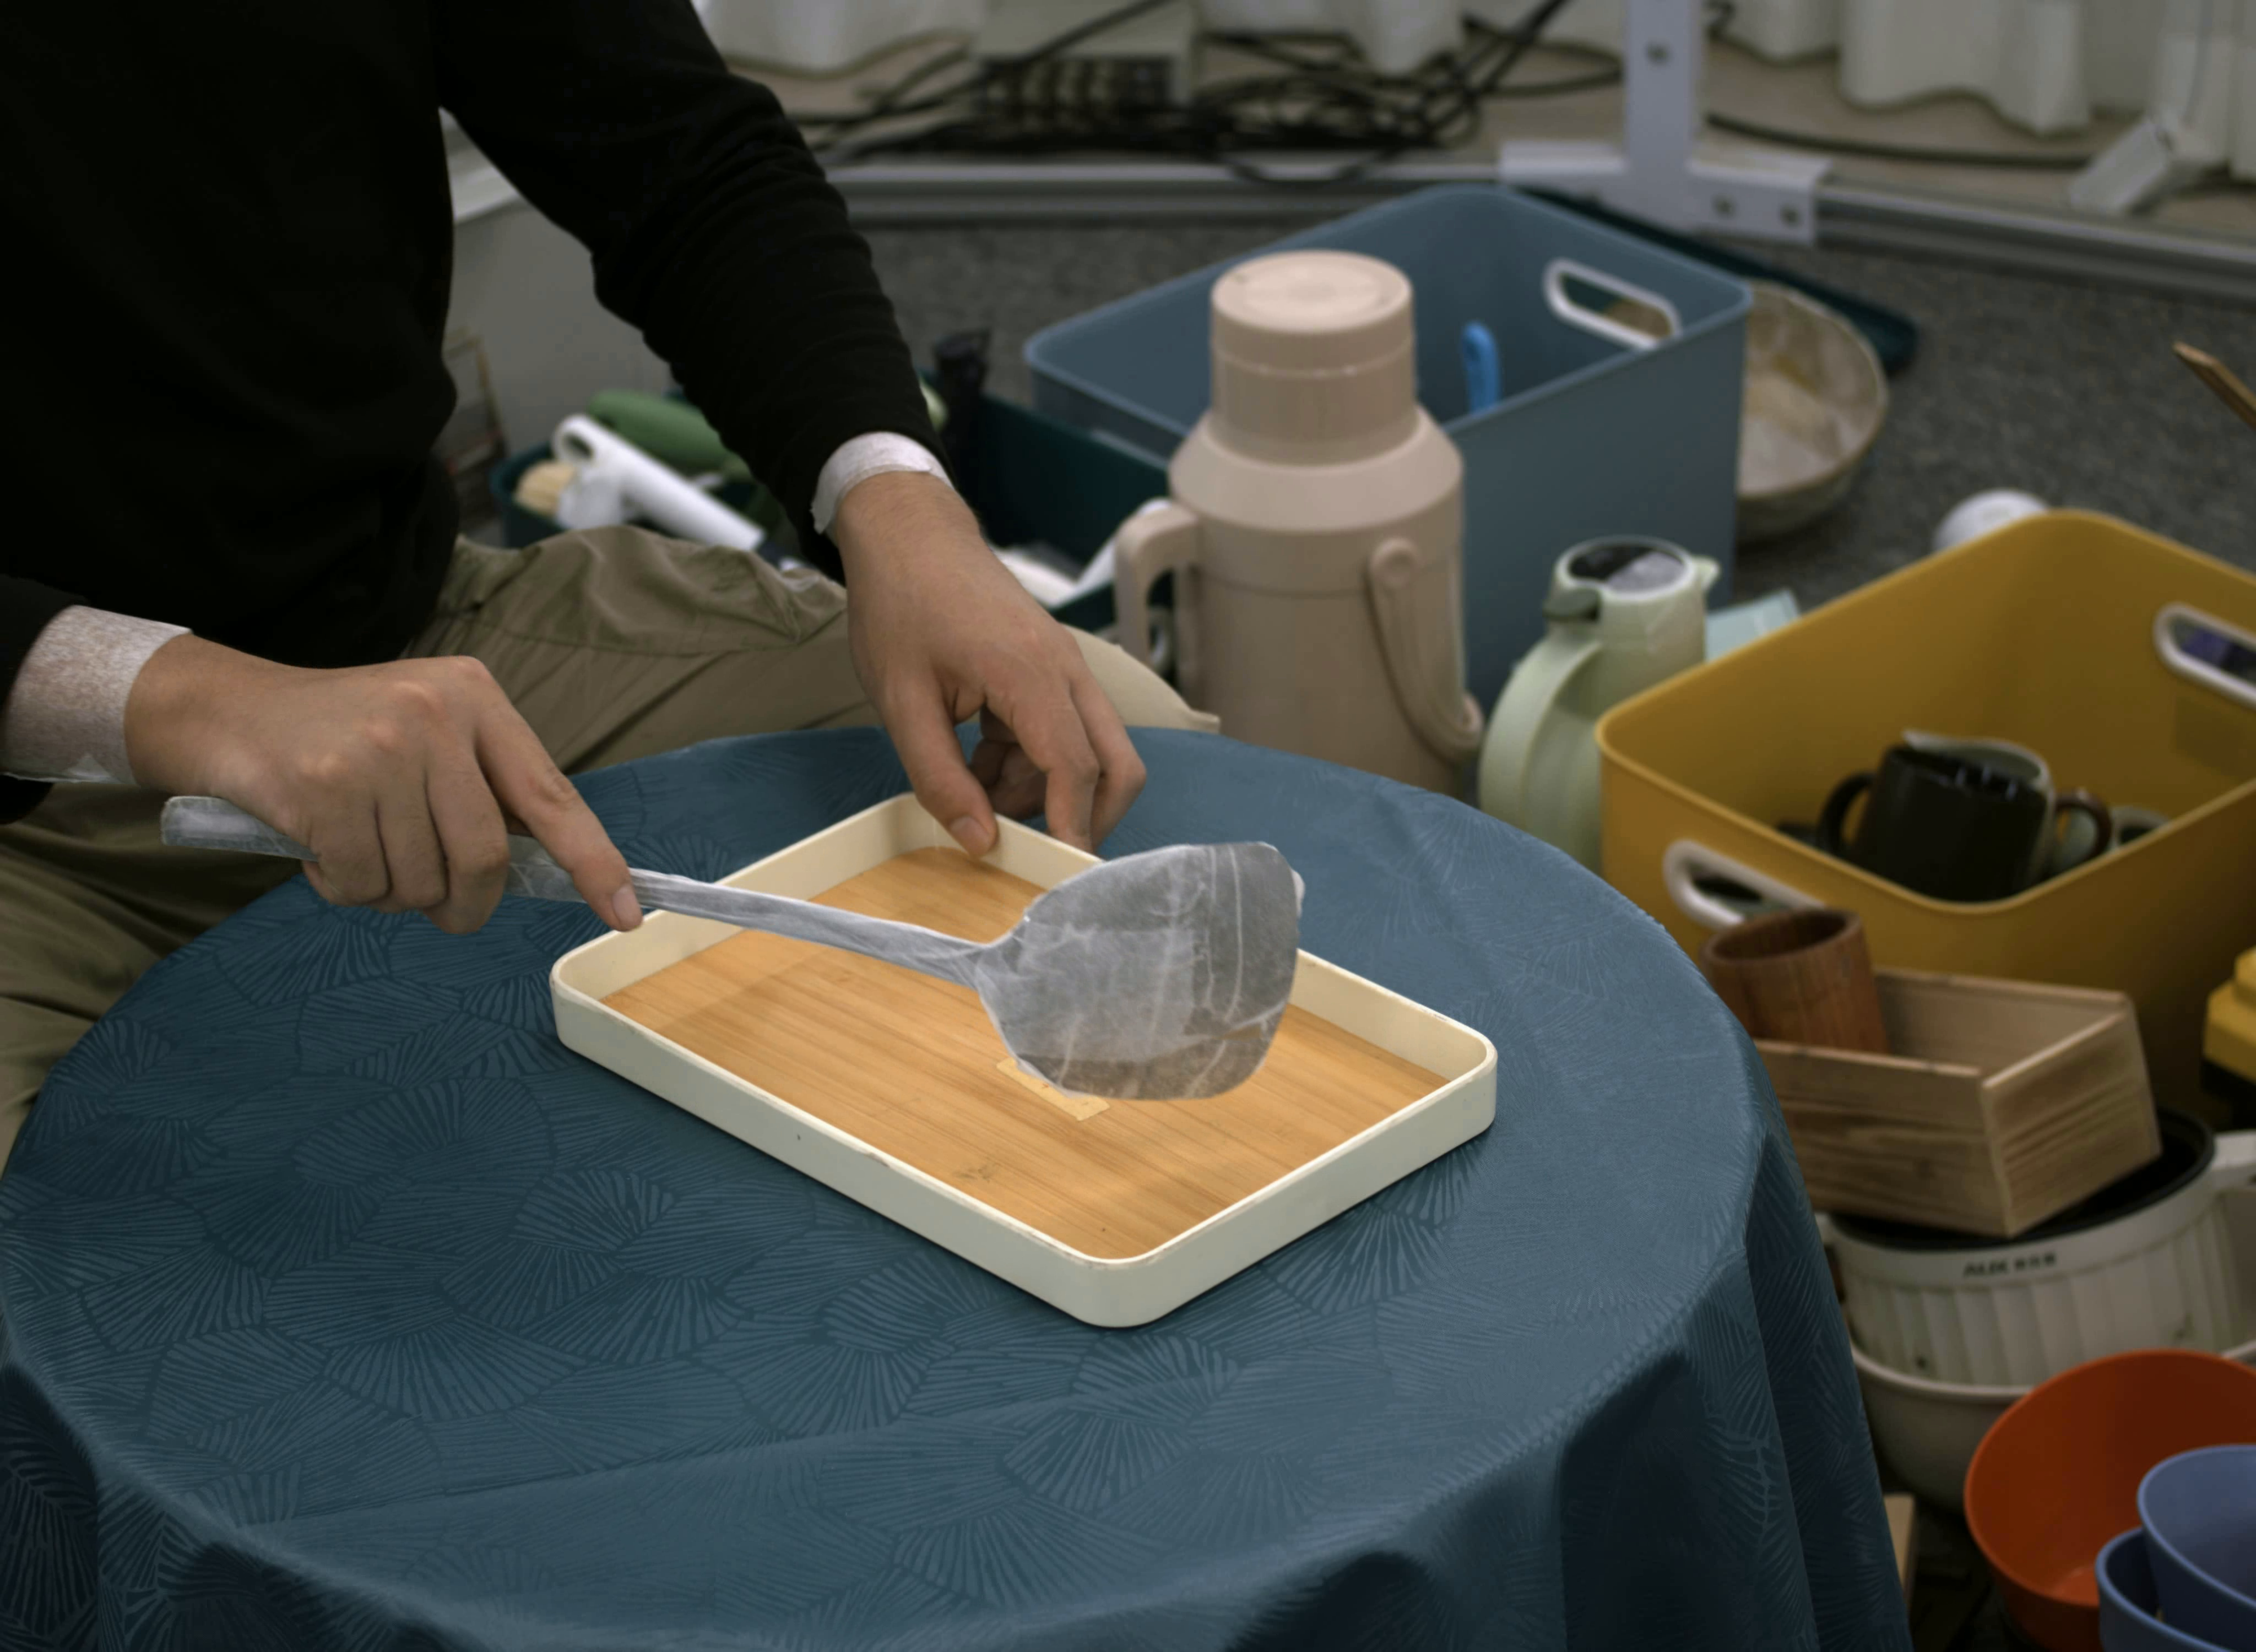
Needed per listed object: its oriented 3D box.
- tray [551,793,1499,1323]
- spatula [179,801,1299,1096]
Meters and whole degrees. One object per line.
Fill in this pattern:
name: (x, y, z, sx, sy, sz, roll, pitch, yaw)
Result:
tray: (-0.038, 0.074, 1.927, 0.194, 0.027, 0.300, -26, 35, -37)
spatula: (-0.125, 0.024, 1.832, 0.363, 0.097, 0.045, 10, 26, 0)
